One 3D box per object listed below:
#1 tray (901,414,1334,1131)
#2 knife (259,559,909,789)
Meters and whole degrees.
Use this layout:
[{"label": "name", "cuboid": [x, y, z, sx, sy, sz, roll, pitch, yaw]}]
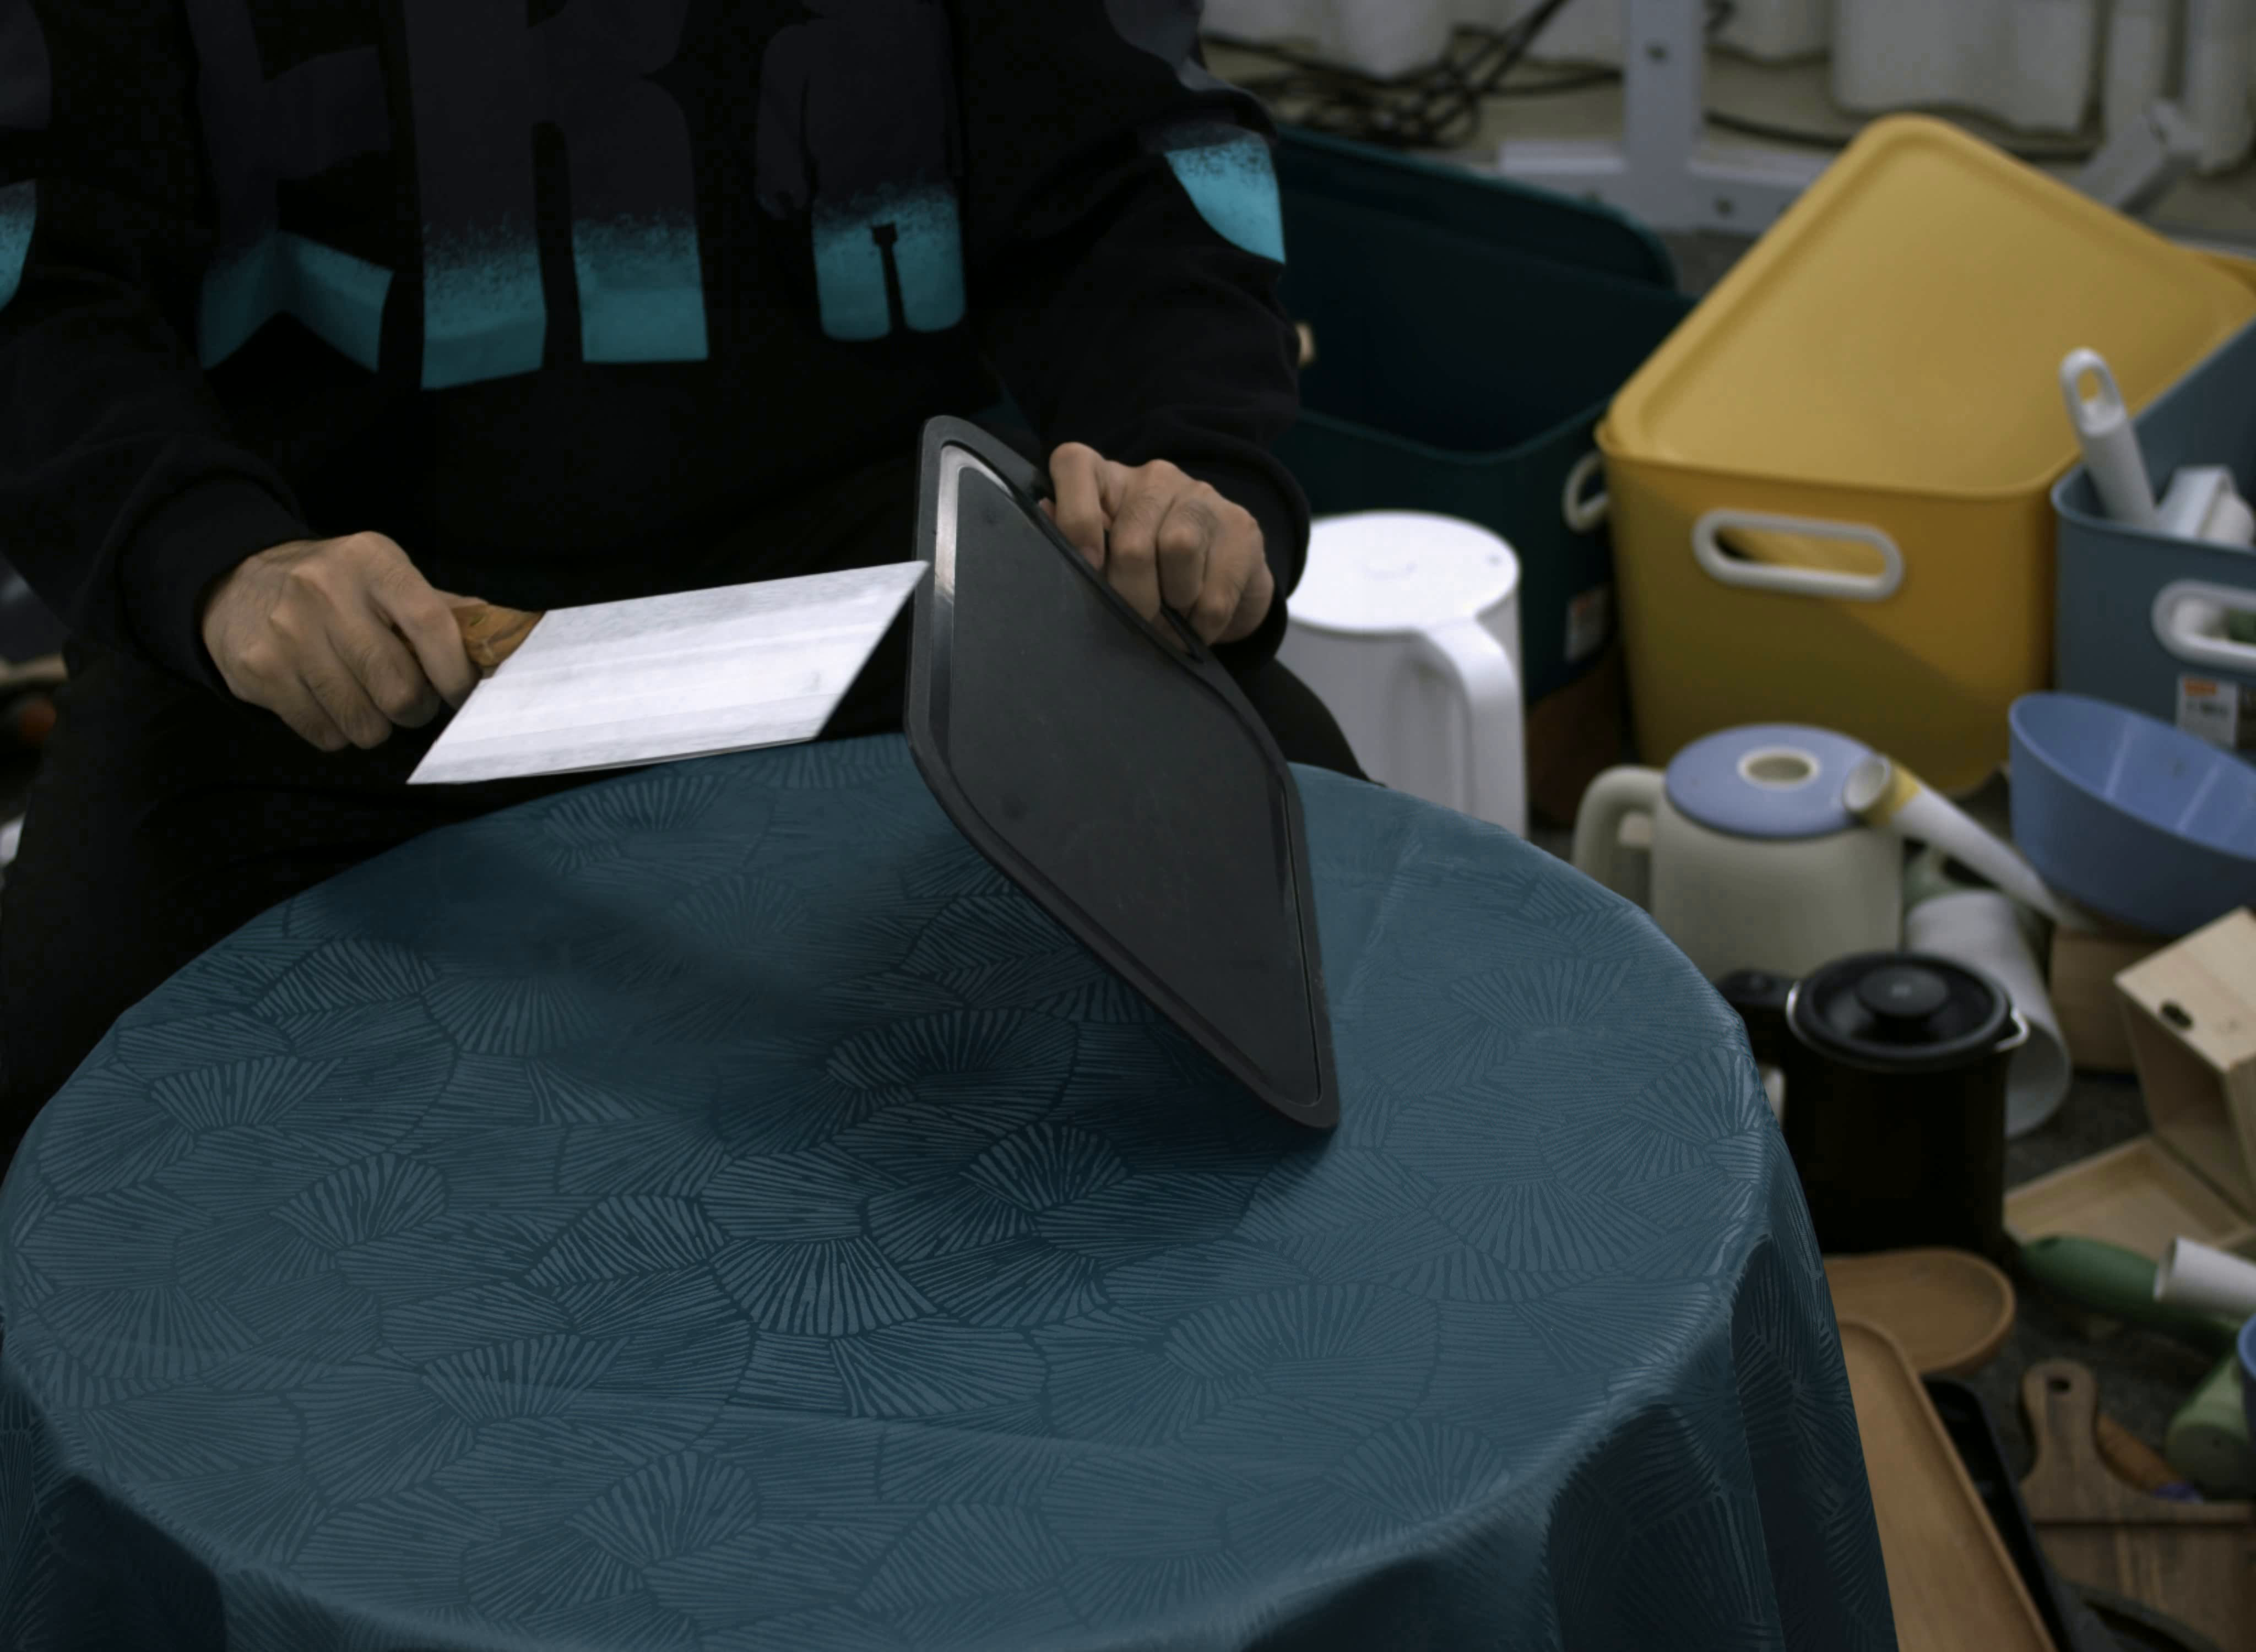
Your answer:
[{"label": "tray", "cuboid": [-0.002, -0.029, 1.973, 0.009, 0.210, 0.330, -40, 21, 19]}, {"label": "knife", "cuboid": [-0.204, -0.048, 1.955, 0.302, 0.021, 0.095, -6, 40, 39]}]
